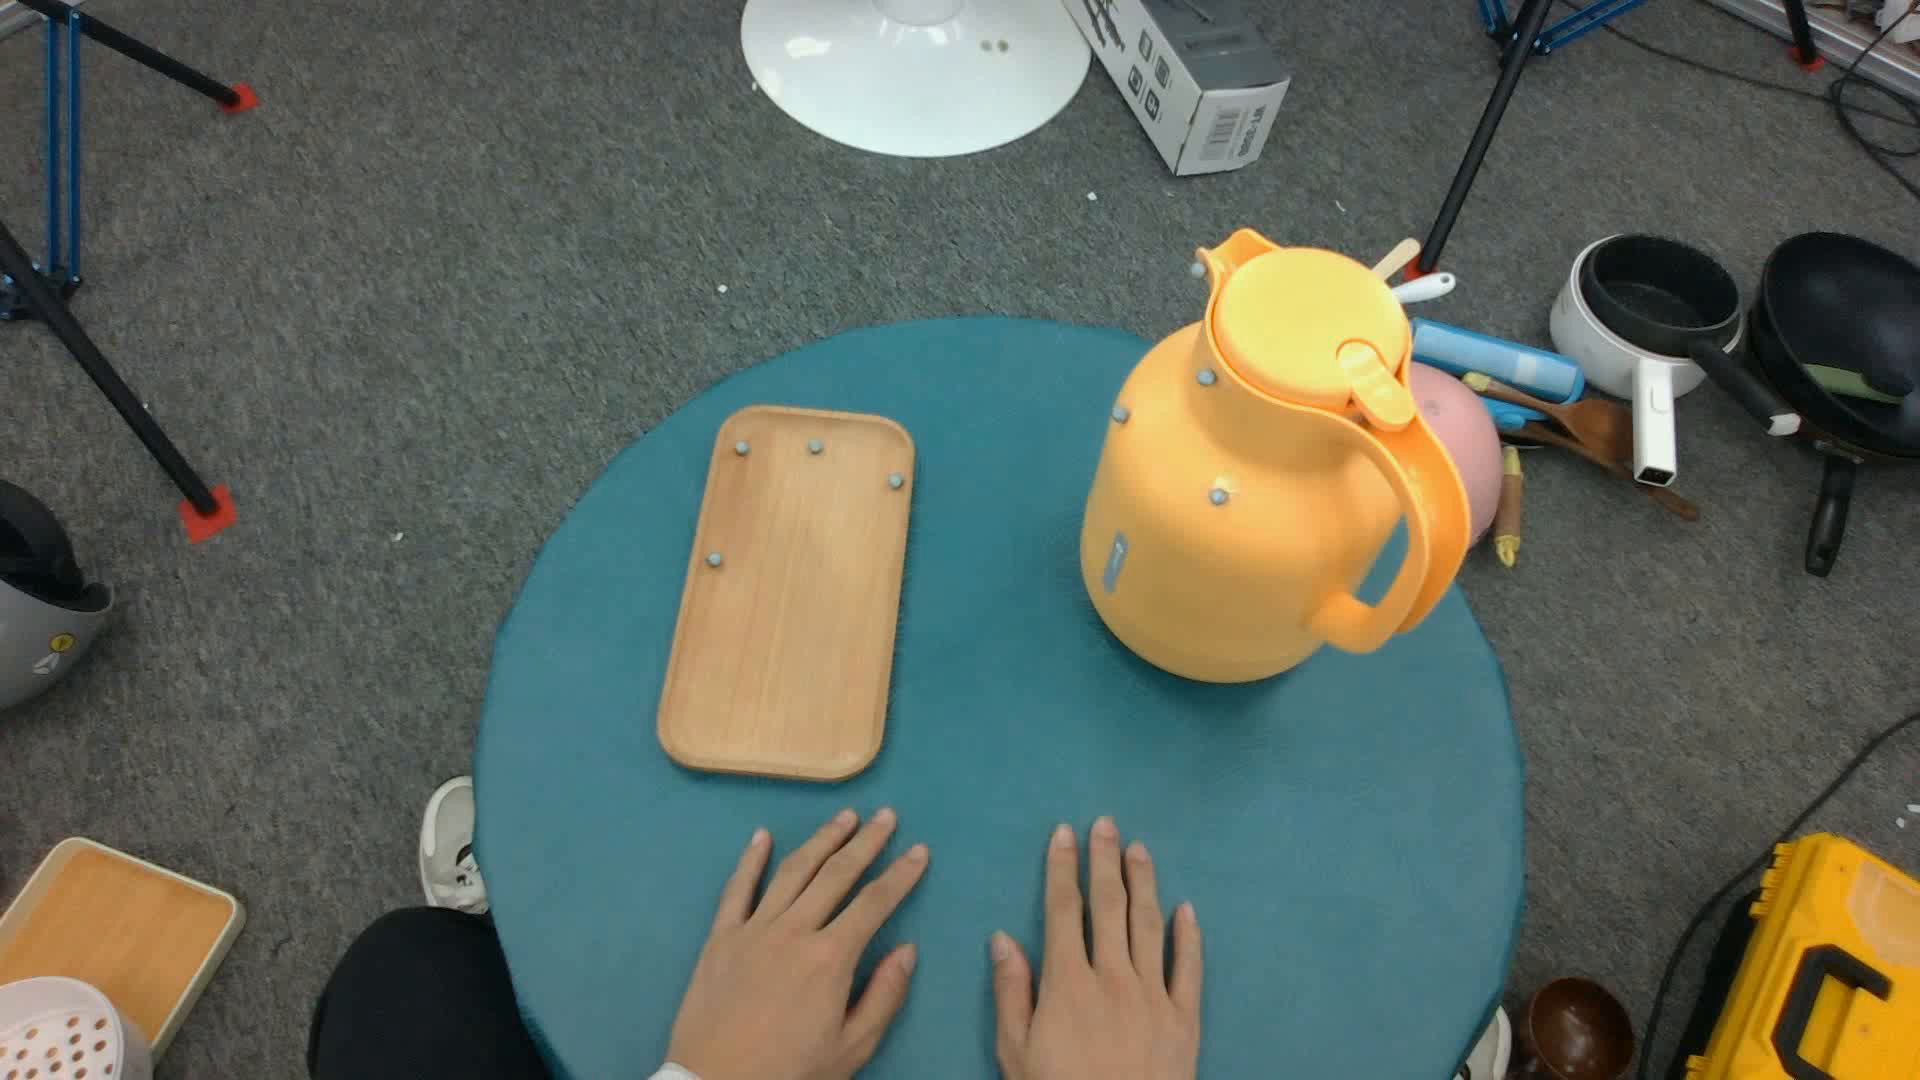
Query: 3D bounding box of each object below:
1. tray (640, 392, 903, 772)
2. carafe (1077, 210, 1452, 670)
[{"bbox_3d":[-0.107,0.018,0.823,0.130,0.023,0.252,5,59,1],"label":"tray"},{"bbox_3d":[0.161,-0.034,0.732,0.164,0.259,0.203,-25,62,-15],"label":"carafe"}]
